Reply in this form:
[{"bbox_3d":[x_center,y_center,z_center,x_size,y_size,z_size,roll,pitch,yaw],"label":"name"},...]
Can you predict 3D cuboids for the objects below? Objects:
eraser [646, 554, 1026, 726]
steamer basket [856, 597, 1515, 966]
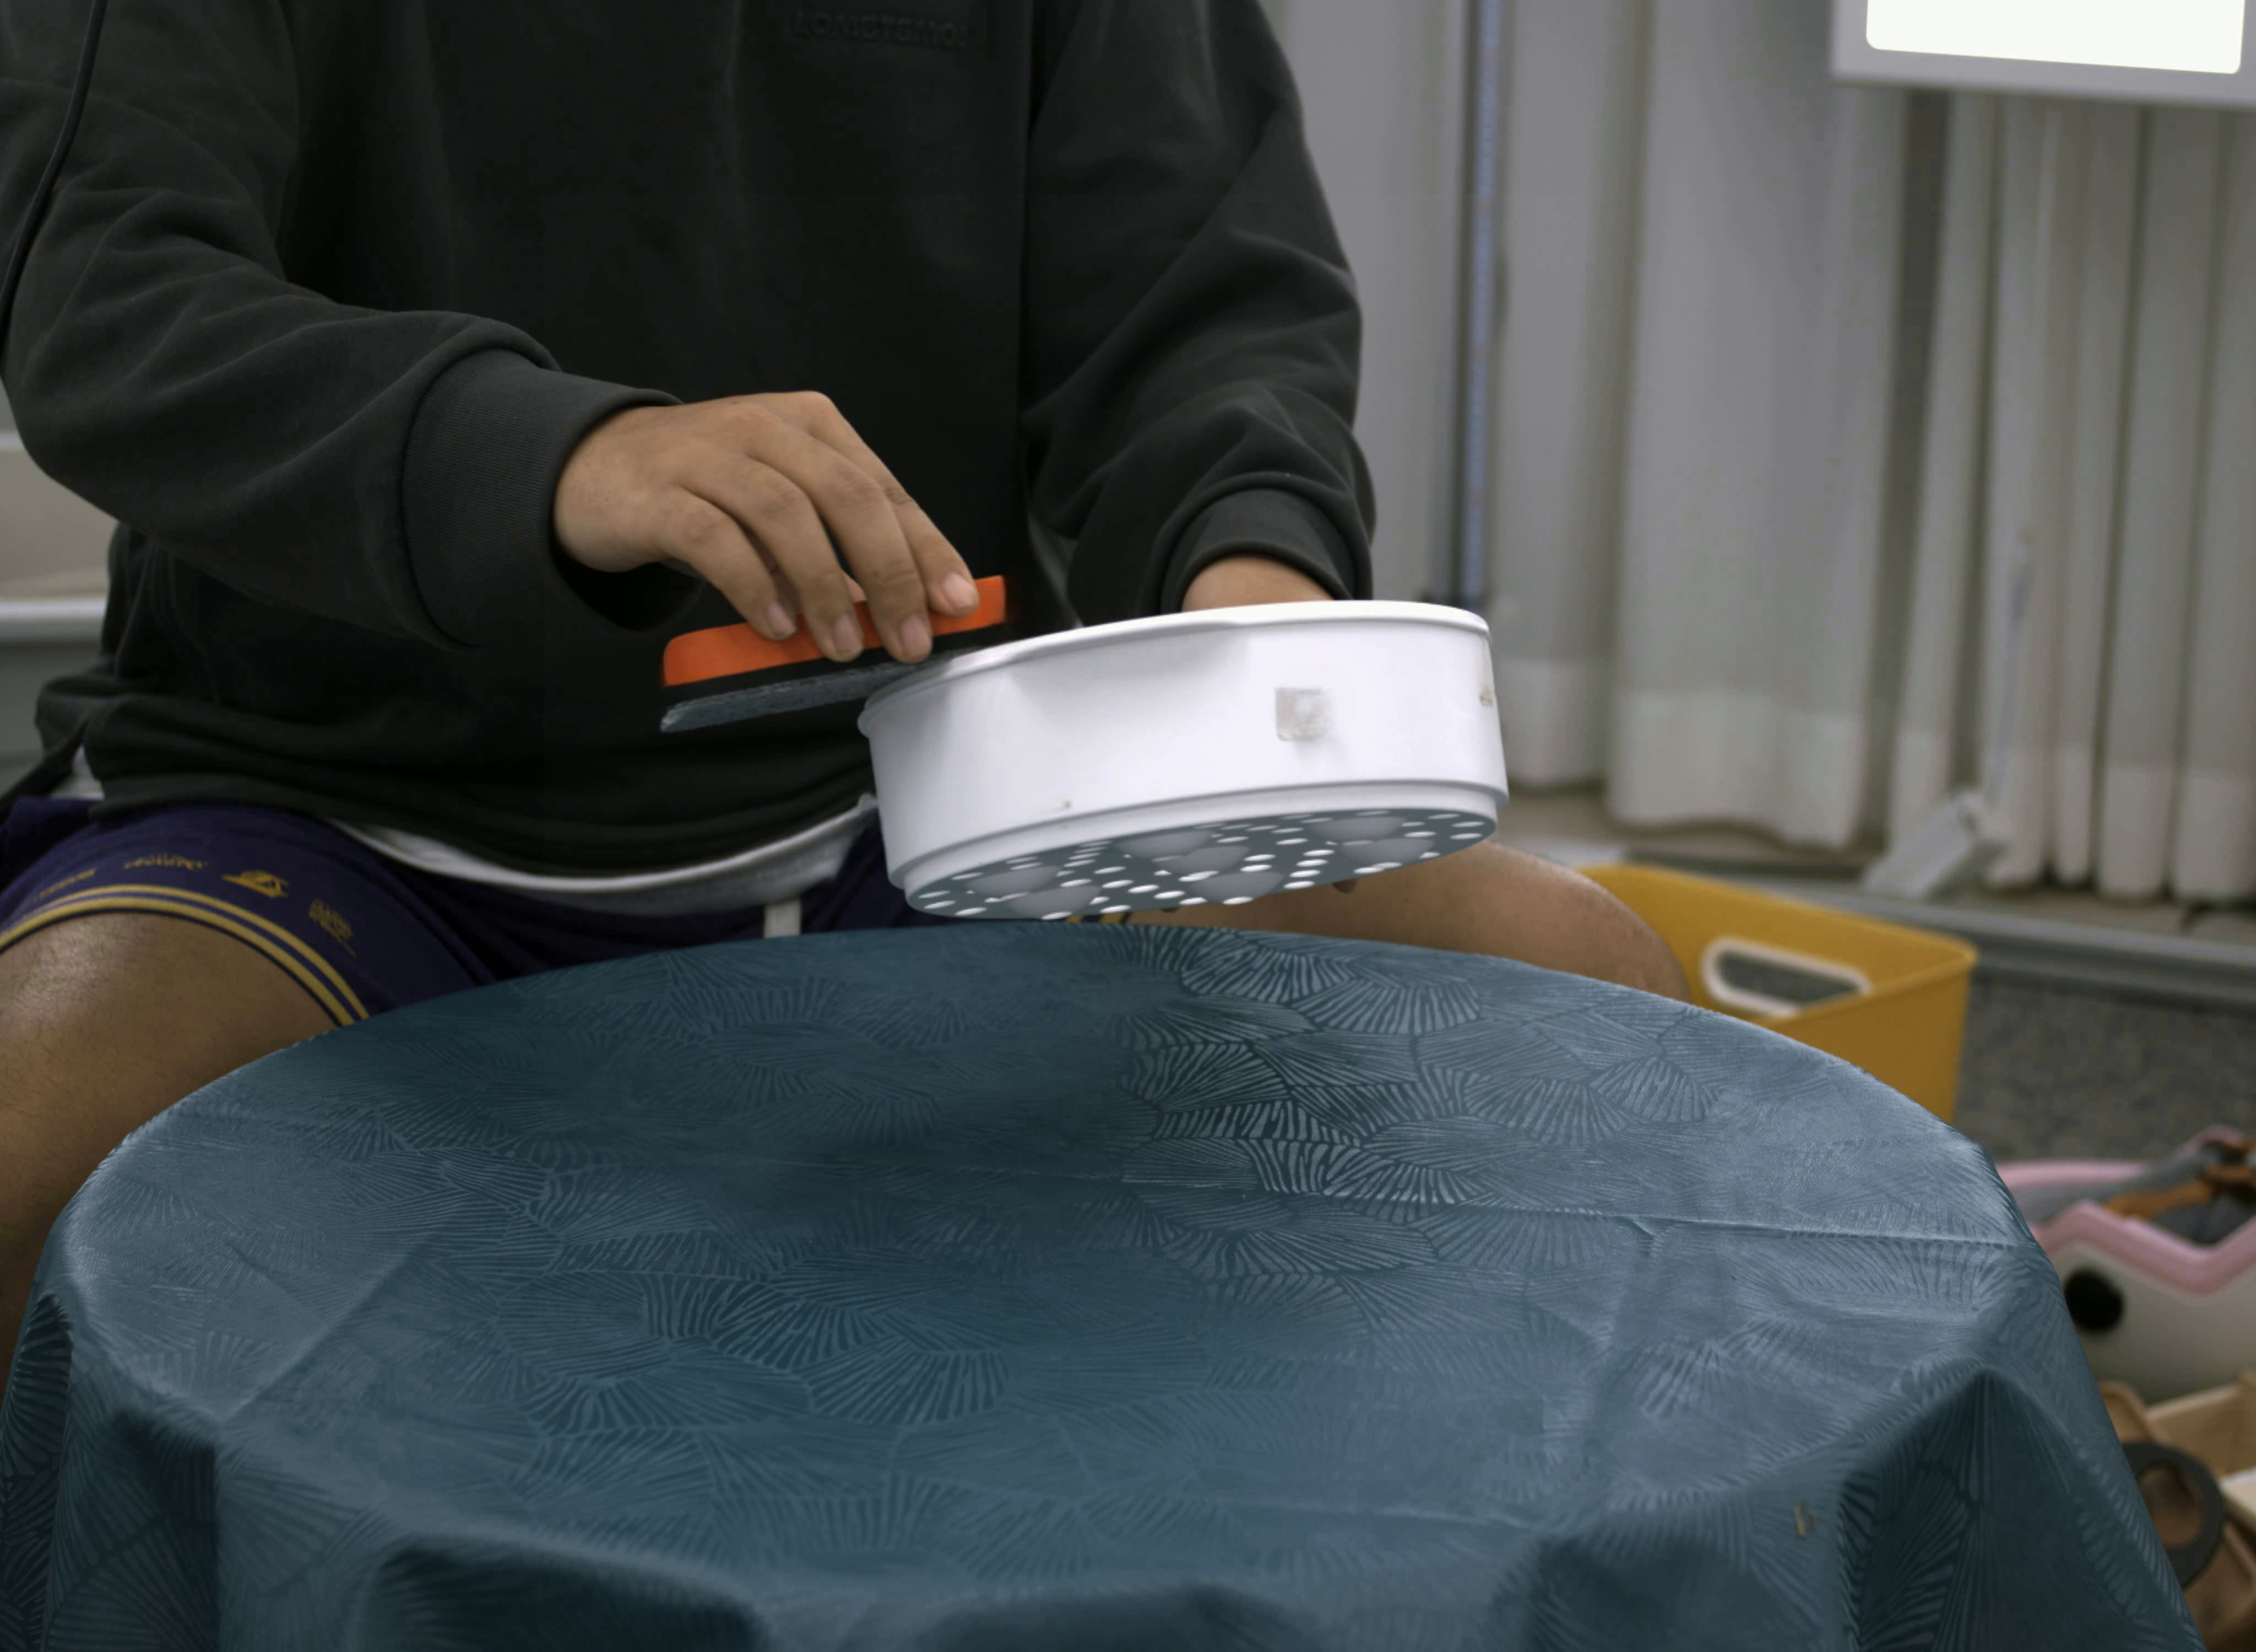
[{"bbox_3d":[-0.088,-0.056,1.579,0.108,0.023,0.059,-12,-10,-18],"label":"eraser"},{"bbox_3d":[0.020,-0.009,1.621,0.201,0.069,0.232,-12,-13,8],"label":"steamer basket"}]
